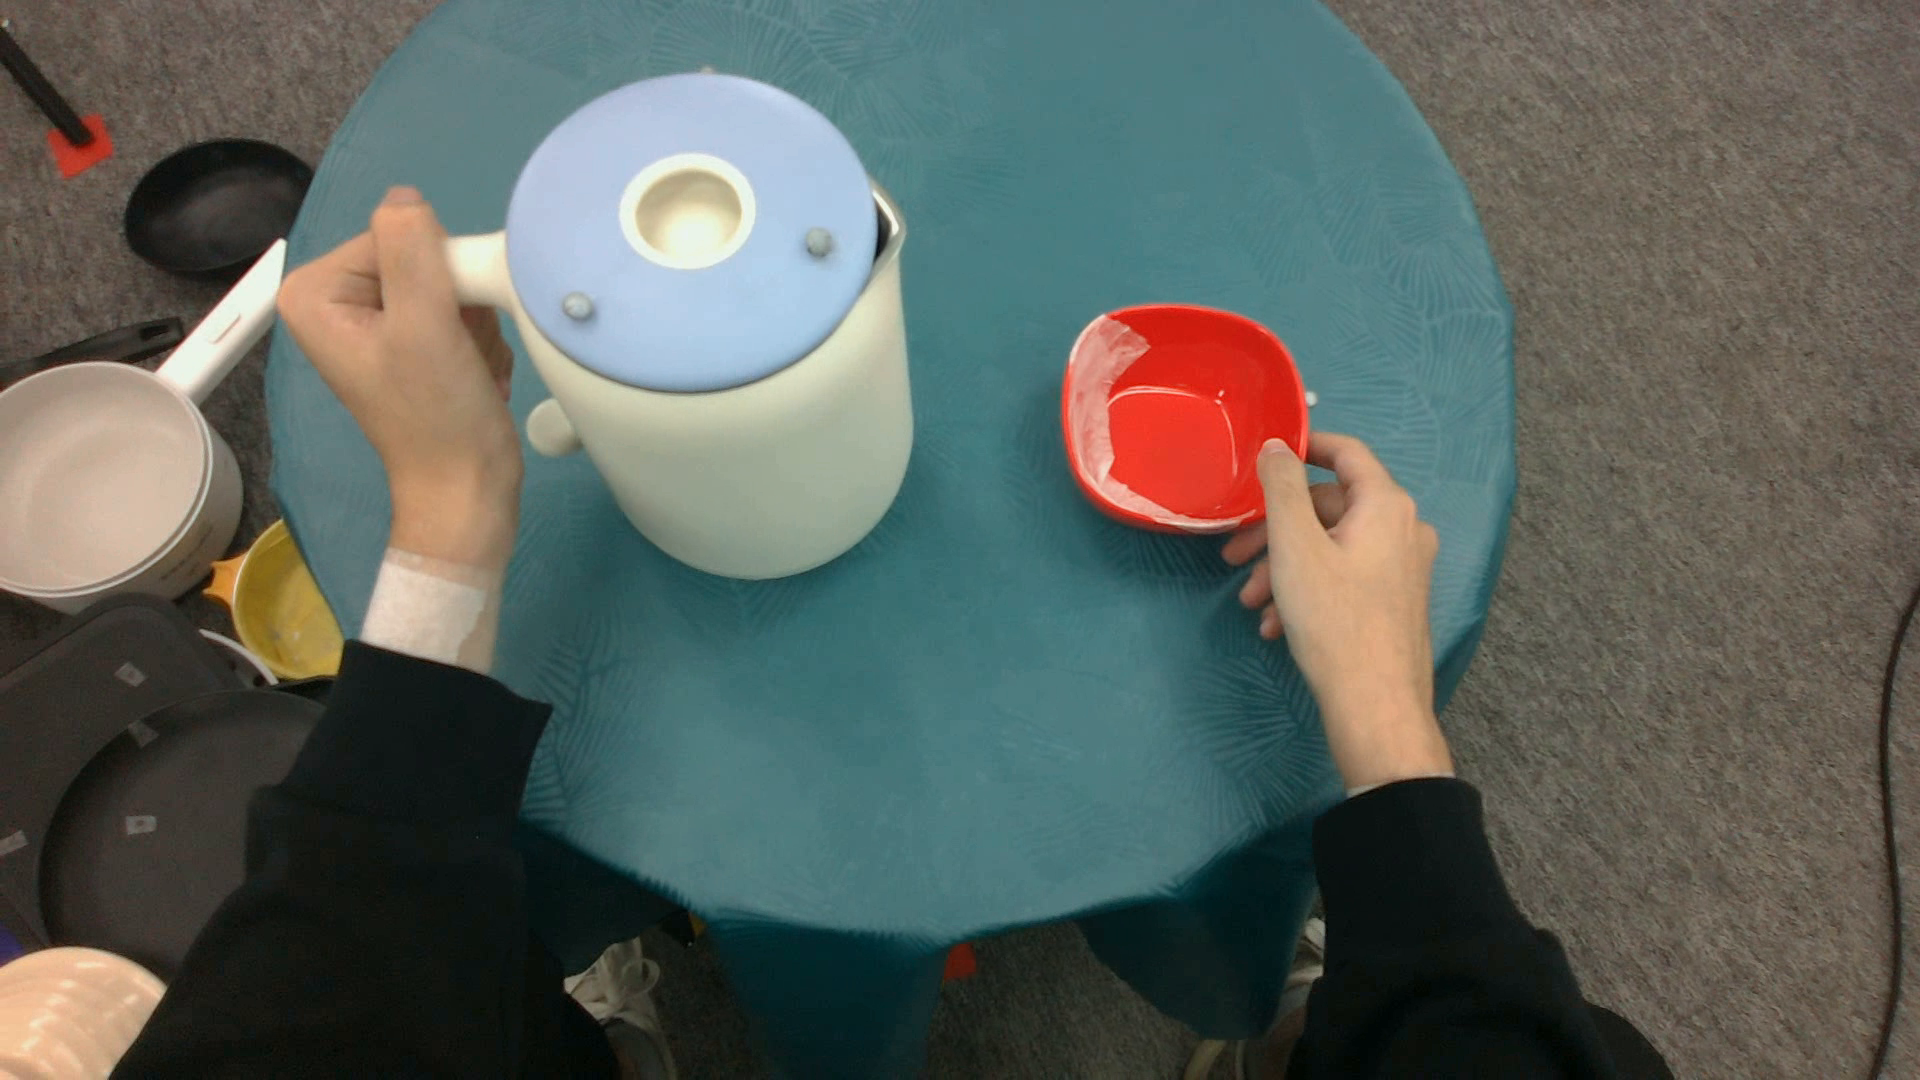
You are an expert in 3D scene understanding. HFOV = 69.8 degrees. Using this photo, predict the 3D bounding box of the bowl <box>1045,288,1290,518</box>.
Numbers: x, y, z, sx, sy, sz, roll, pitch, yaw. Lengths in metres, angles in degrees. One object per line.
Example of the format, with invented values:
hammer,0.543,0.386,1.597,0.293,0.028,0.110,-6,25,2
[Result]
bowl,0.089,-0.055,0.629,0.119,0.051,0.119,3,67,-6

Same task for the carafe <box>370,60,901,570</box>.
carafe,-0.115,-0.074,0.518,0.191,0.182,0.132,-4,68,0
